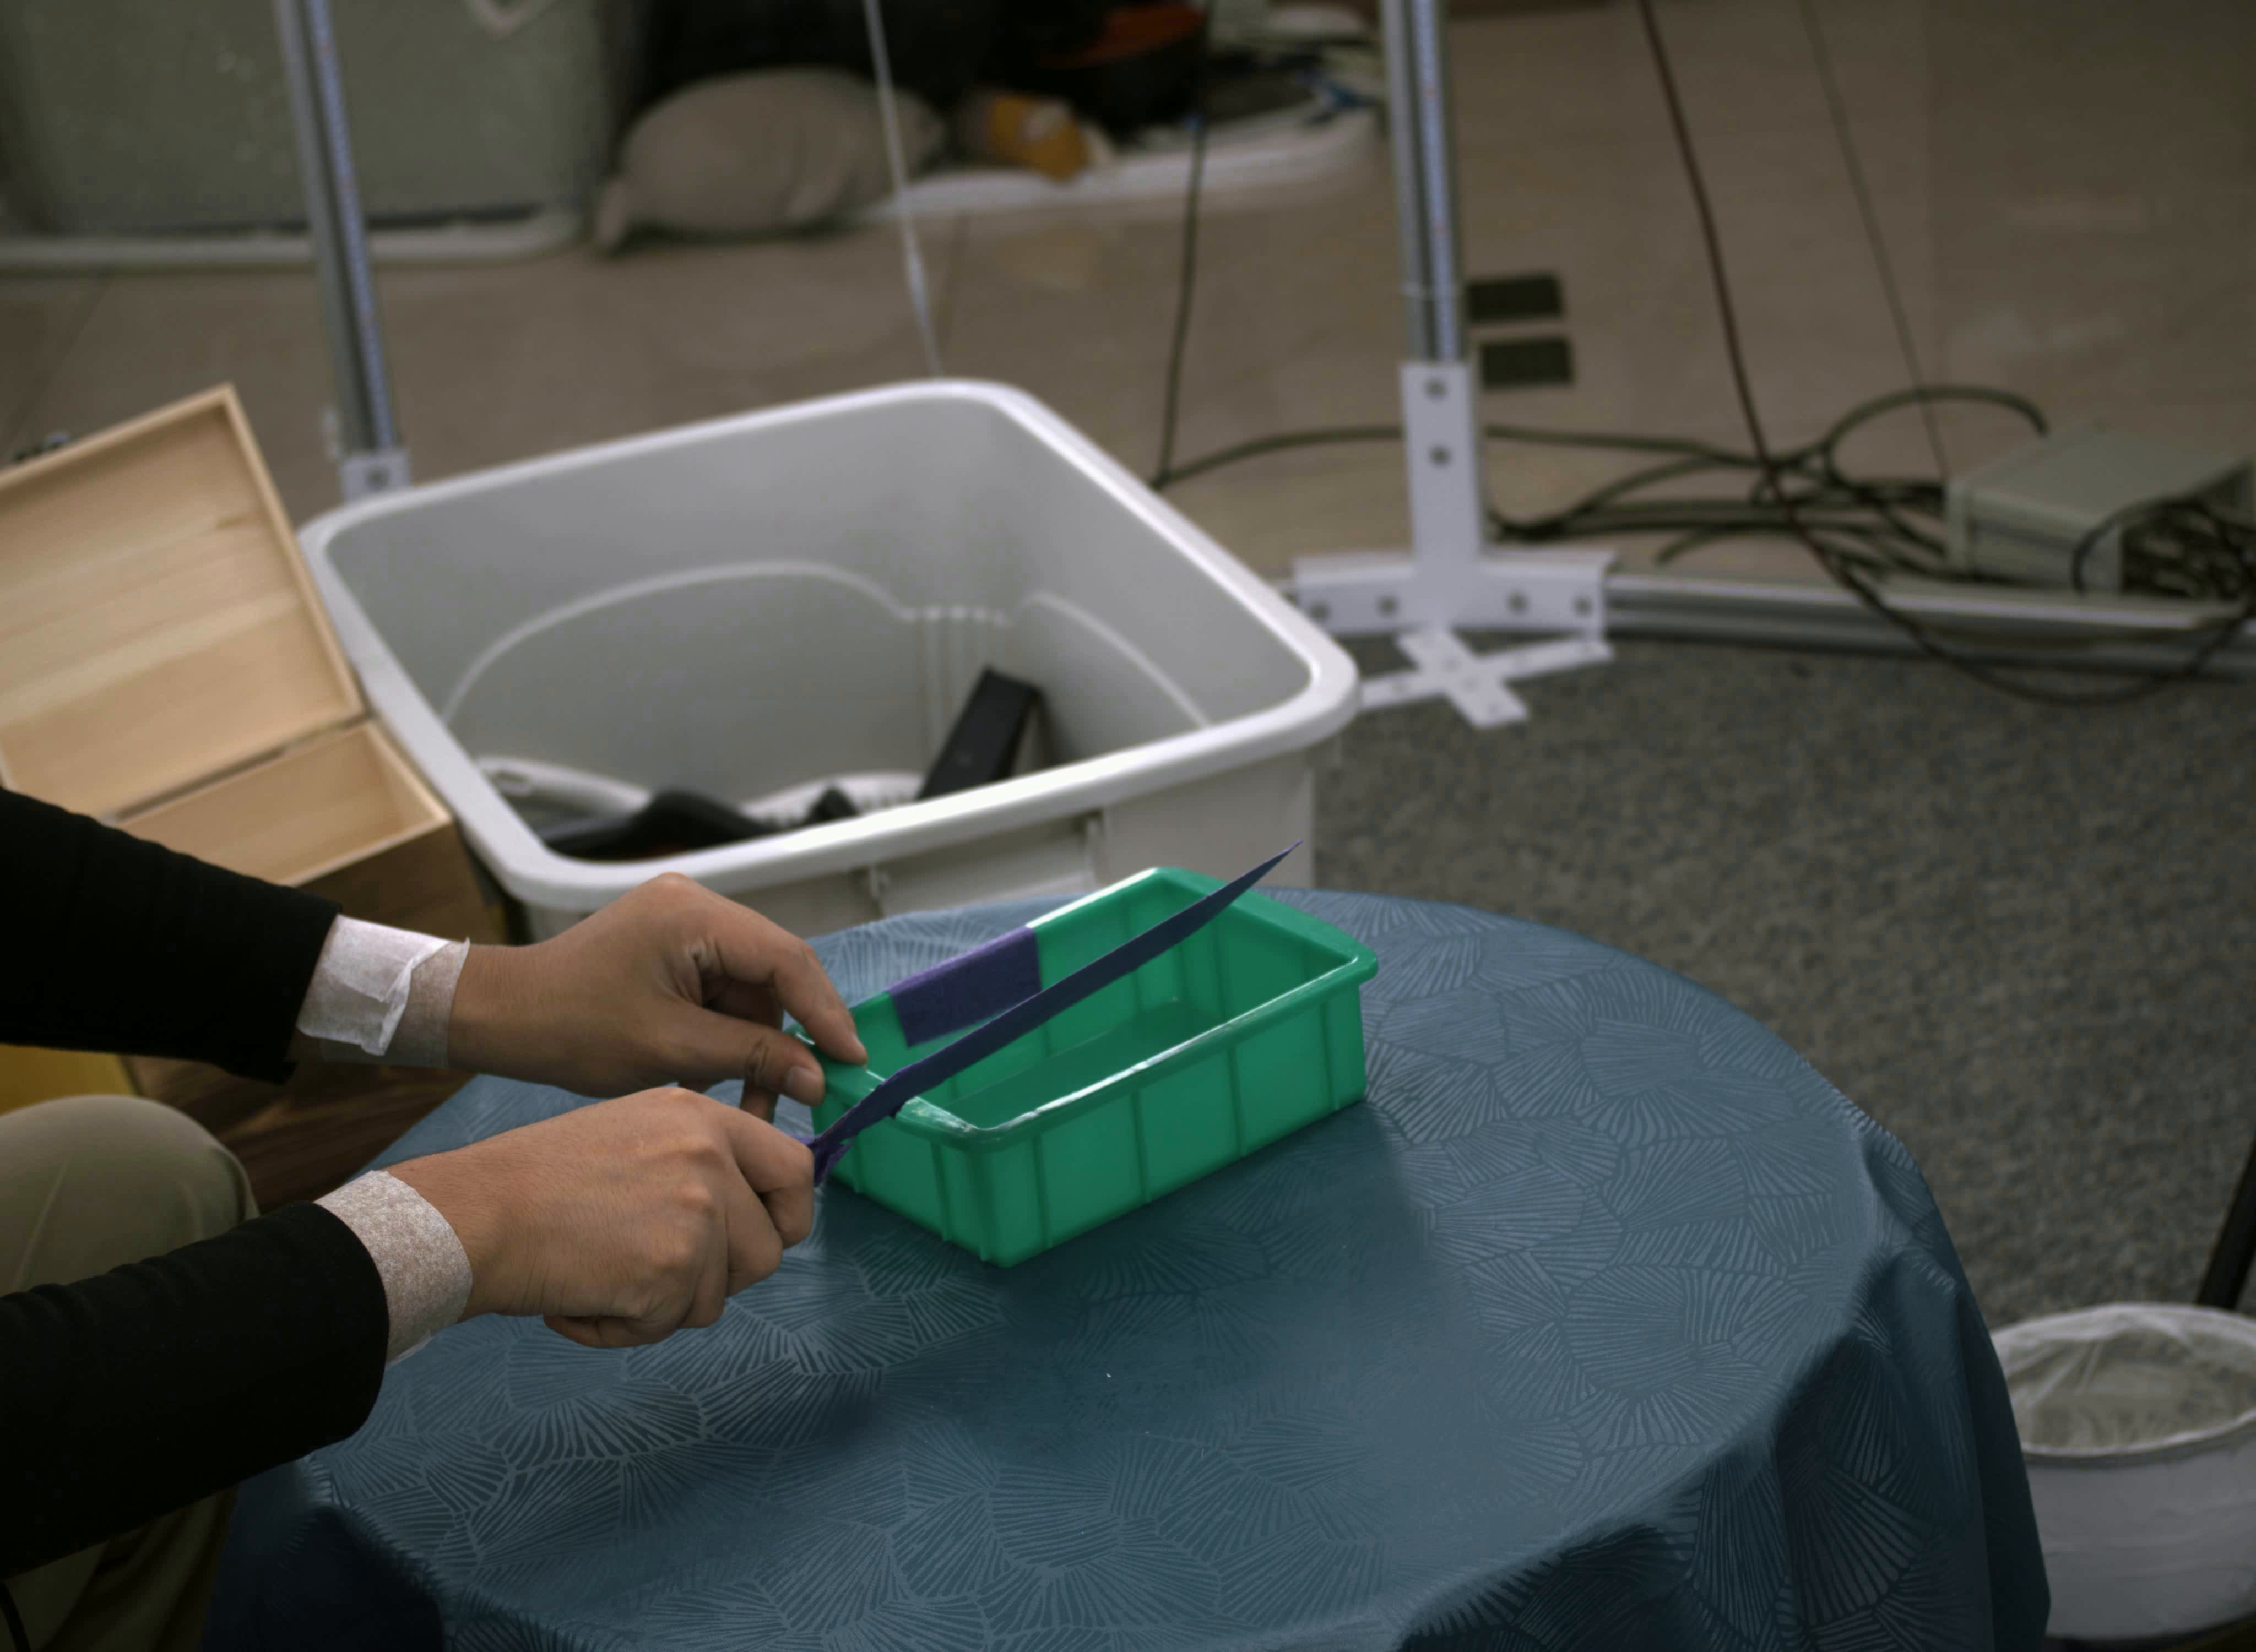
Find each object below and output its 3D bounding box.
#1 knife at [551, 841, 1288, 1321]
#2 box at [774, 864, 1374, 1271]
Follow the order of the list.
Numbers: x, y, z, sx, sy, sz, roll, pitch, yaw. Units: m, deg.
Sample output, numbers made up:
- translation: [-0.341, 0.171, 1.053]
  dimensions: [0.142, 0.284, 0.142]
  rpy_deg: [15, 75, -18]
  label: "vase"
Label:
- translation: [-0.070, 0.081, 2.028]
  dimensions: [0.312, 0.032, 0.105]
  rpy_deg: [-32, -6, -34]
  label: "knife"
- translation: [-0.017, 0.093, 2.177]
  dimensions: [0.209, 0.066, 0.137]
  rpy_deg: [-26, 30, -32]
  label: "box"
